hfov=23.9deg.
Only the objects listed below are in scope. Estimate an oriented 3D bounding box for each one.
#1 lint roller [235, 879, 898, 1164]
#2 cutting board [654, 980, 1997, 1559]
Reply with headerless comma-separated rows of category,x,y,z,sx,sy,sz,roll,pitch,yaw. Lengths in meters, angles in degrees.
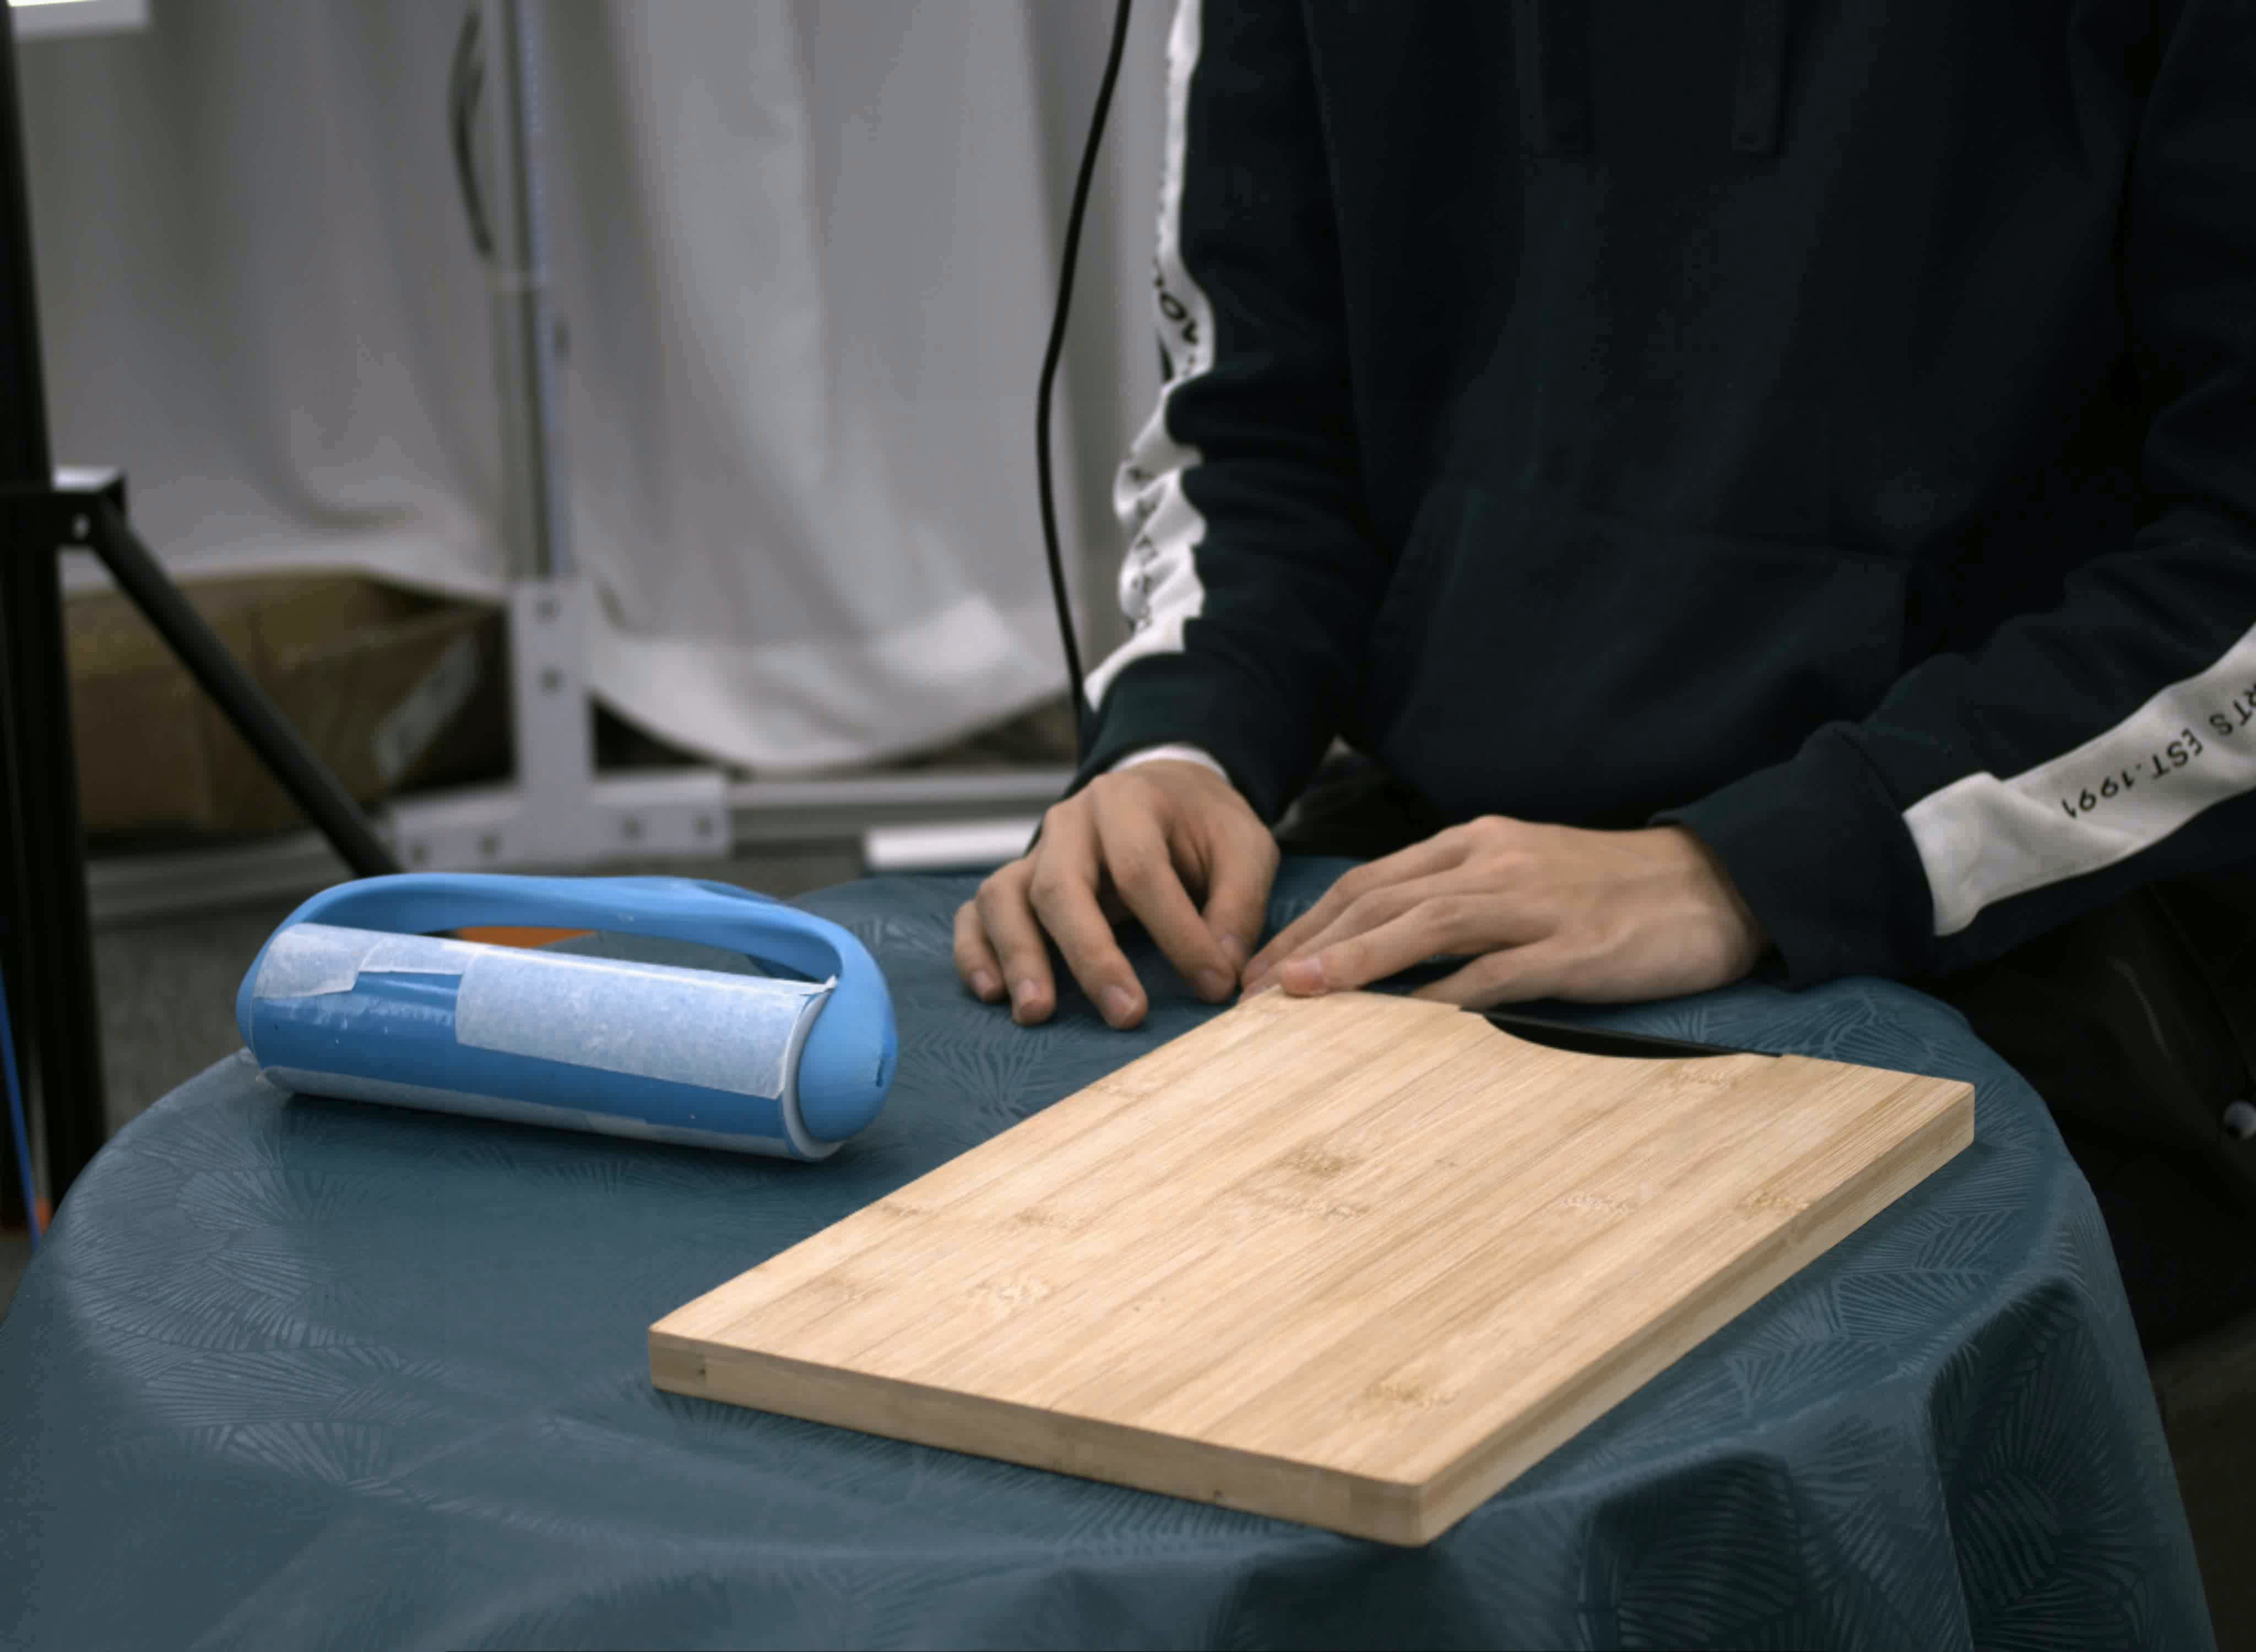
lint roller,-0.152,0.049,1.688,0.232,0.068,0.177,3,17,25
cutting board,0.064,0.115,1.495,0.255,0.023,0.342,7,19,32
